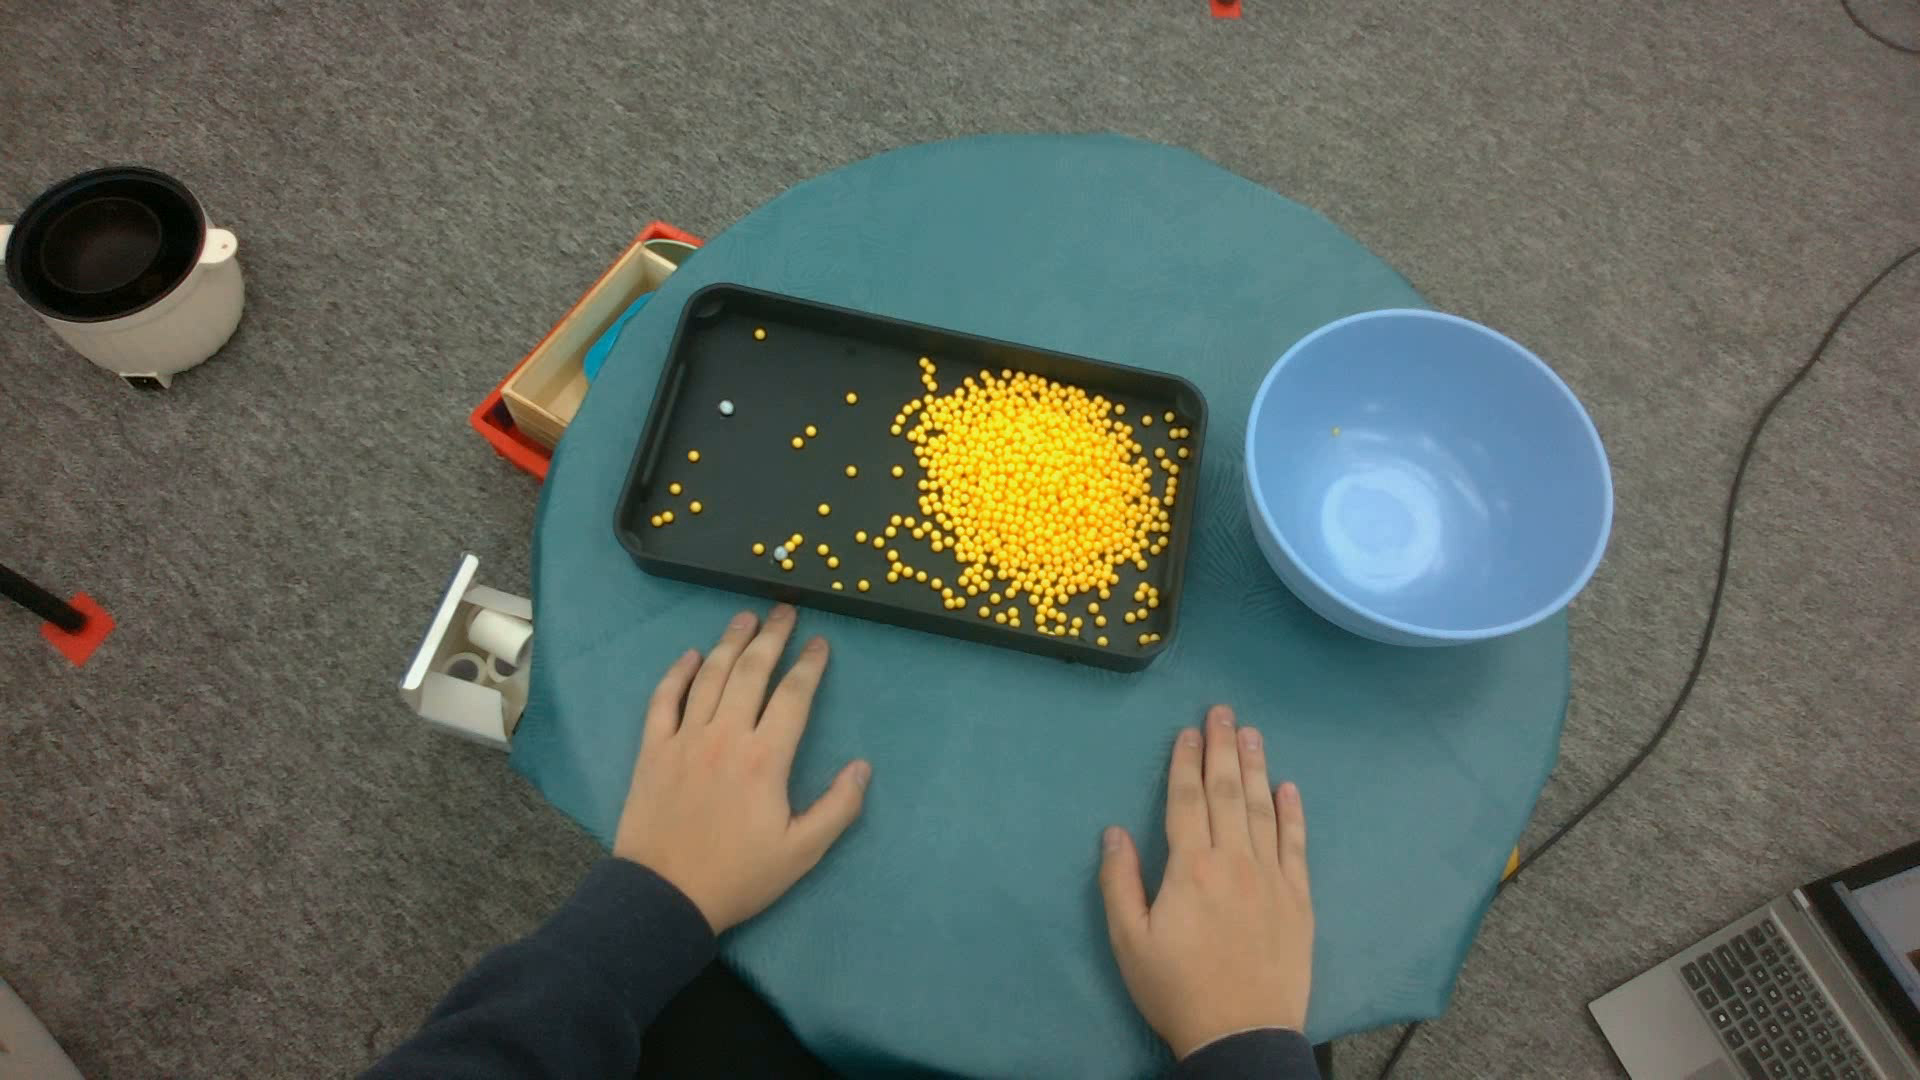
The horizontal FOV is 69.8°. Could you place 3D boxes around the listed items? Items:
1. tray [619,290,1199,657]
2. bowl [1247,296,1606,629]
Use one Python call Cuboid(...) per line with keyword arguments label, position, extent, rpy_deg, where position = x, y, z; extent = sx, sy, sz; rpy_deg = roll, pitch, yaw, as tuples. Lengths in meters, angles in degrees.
Cuboid(label="tray", position=(-0.025, -0.040, 0.812), extent=(0.318, 0.037, 0.185), rpy_deg=(9, 67, 0))
Cuboid(label="bowl", position=(0.251, -0.031, 0.787), extent=(0.196, 0.095, 0.197), rpy_deg=(2, 66, -3))
